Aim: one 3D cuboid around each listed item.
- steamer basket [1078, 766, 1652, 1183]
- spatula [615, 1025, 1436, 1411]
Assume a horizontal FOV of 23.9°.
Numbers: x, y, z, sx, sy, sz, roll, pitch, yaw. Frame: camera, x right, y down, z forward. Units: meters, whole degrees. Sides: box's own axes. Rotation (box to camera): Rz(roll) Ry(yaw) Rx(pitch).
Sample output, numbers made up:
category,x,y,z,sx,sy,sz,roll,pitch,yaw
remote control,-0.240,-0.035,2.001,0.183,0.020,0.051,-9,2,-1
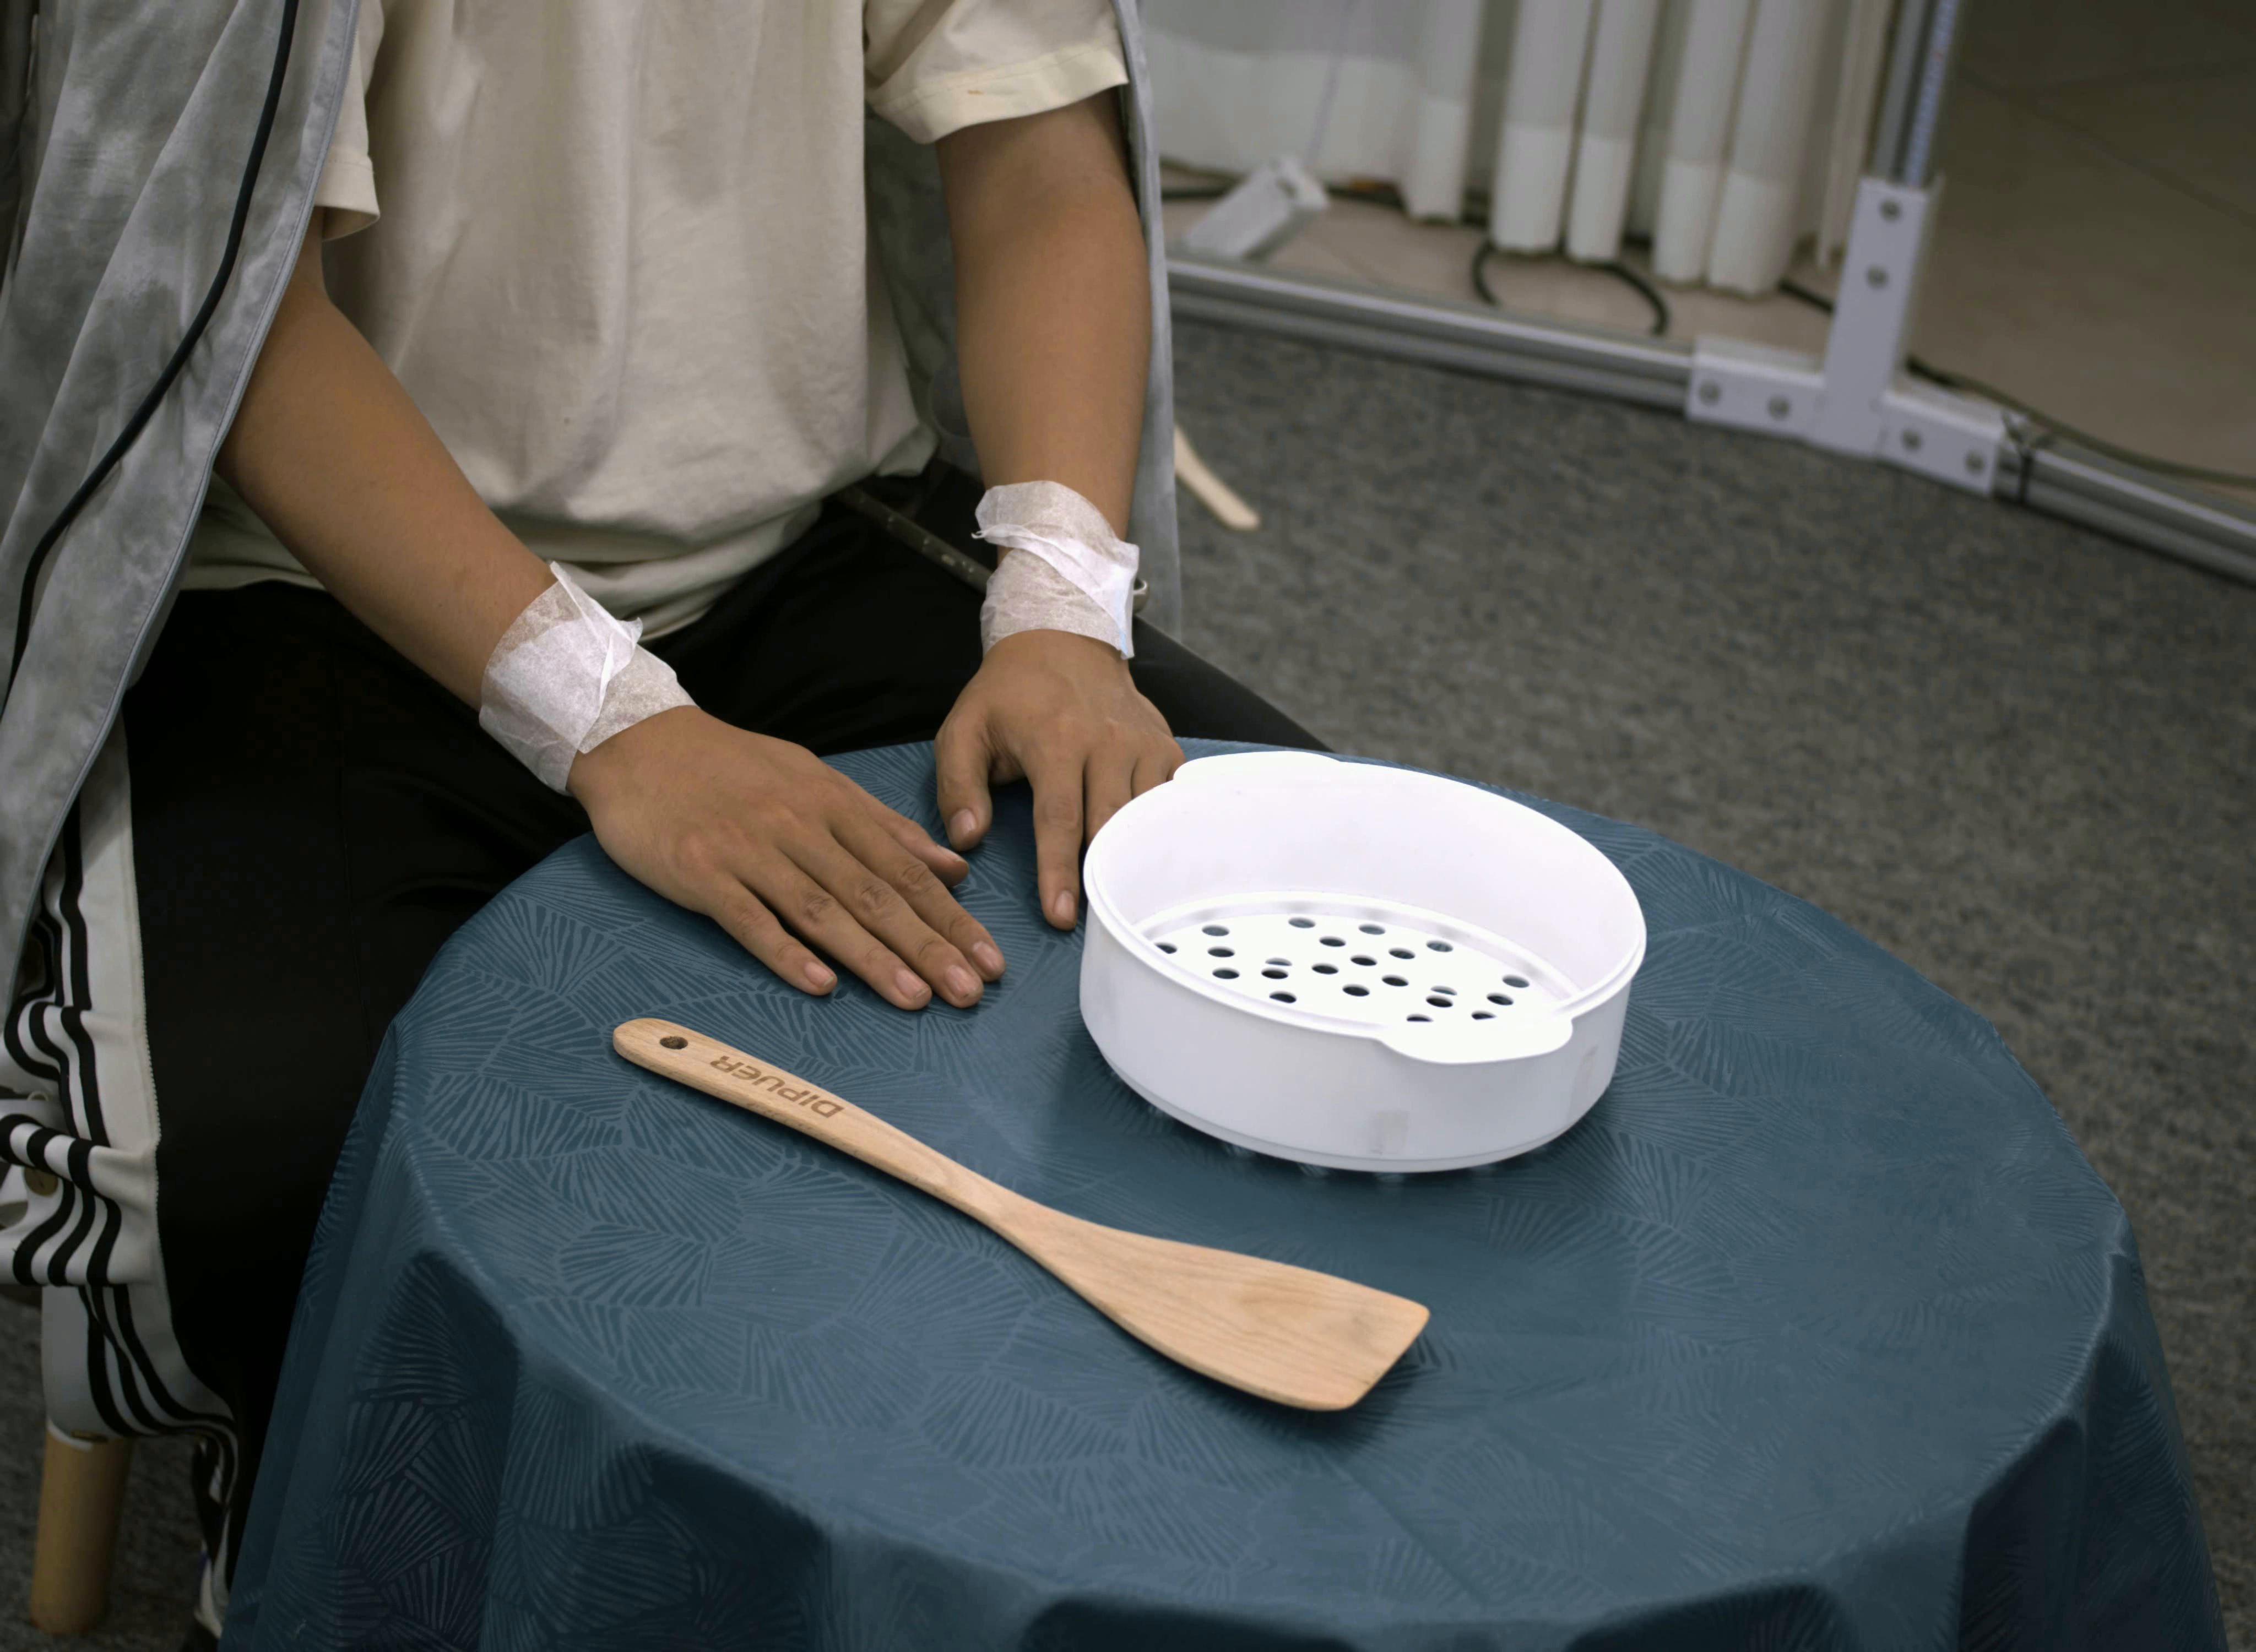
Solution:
category,x,y,z,sx,sy,sz,roll,pitch,yaw
steamer basket,0.082,0.054,1.888,0.200,0.069,0.232,-3,28,-21
spatula,-0.042,0.124,1.776,0.329,0.016,0.079,22,30,29
